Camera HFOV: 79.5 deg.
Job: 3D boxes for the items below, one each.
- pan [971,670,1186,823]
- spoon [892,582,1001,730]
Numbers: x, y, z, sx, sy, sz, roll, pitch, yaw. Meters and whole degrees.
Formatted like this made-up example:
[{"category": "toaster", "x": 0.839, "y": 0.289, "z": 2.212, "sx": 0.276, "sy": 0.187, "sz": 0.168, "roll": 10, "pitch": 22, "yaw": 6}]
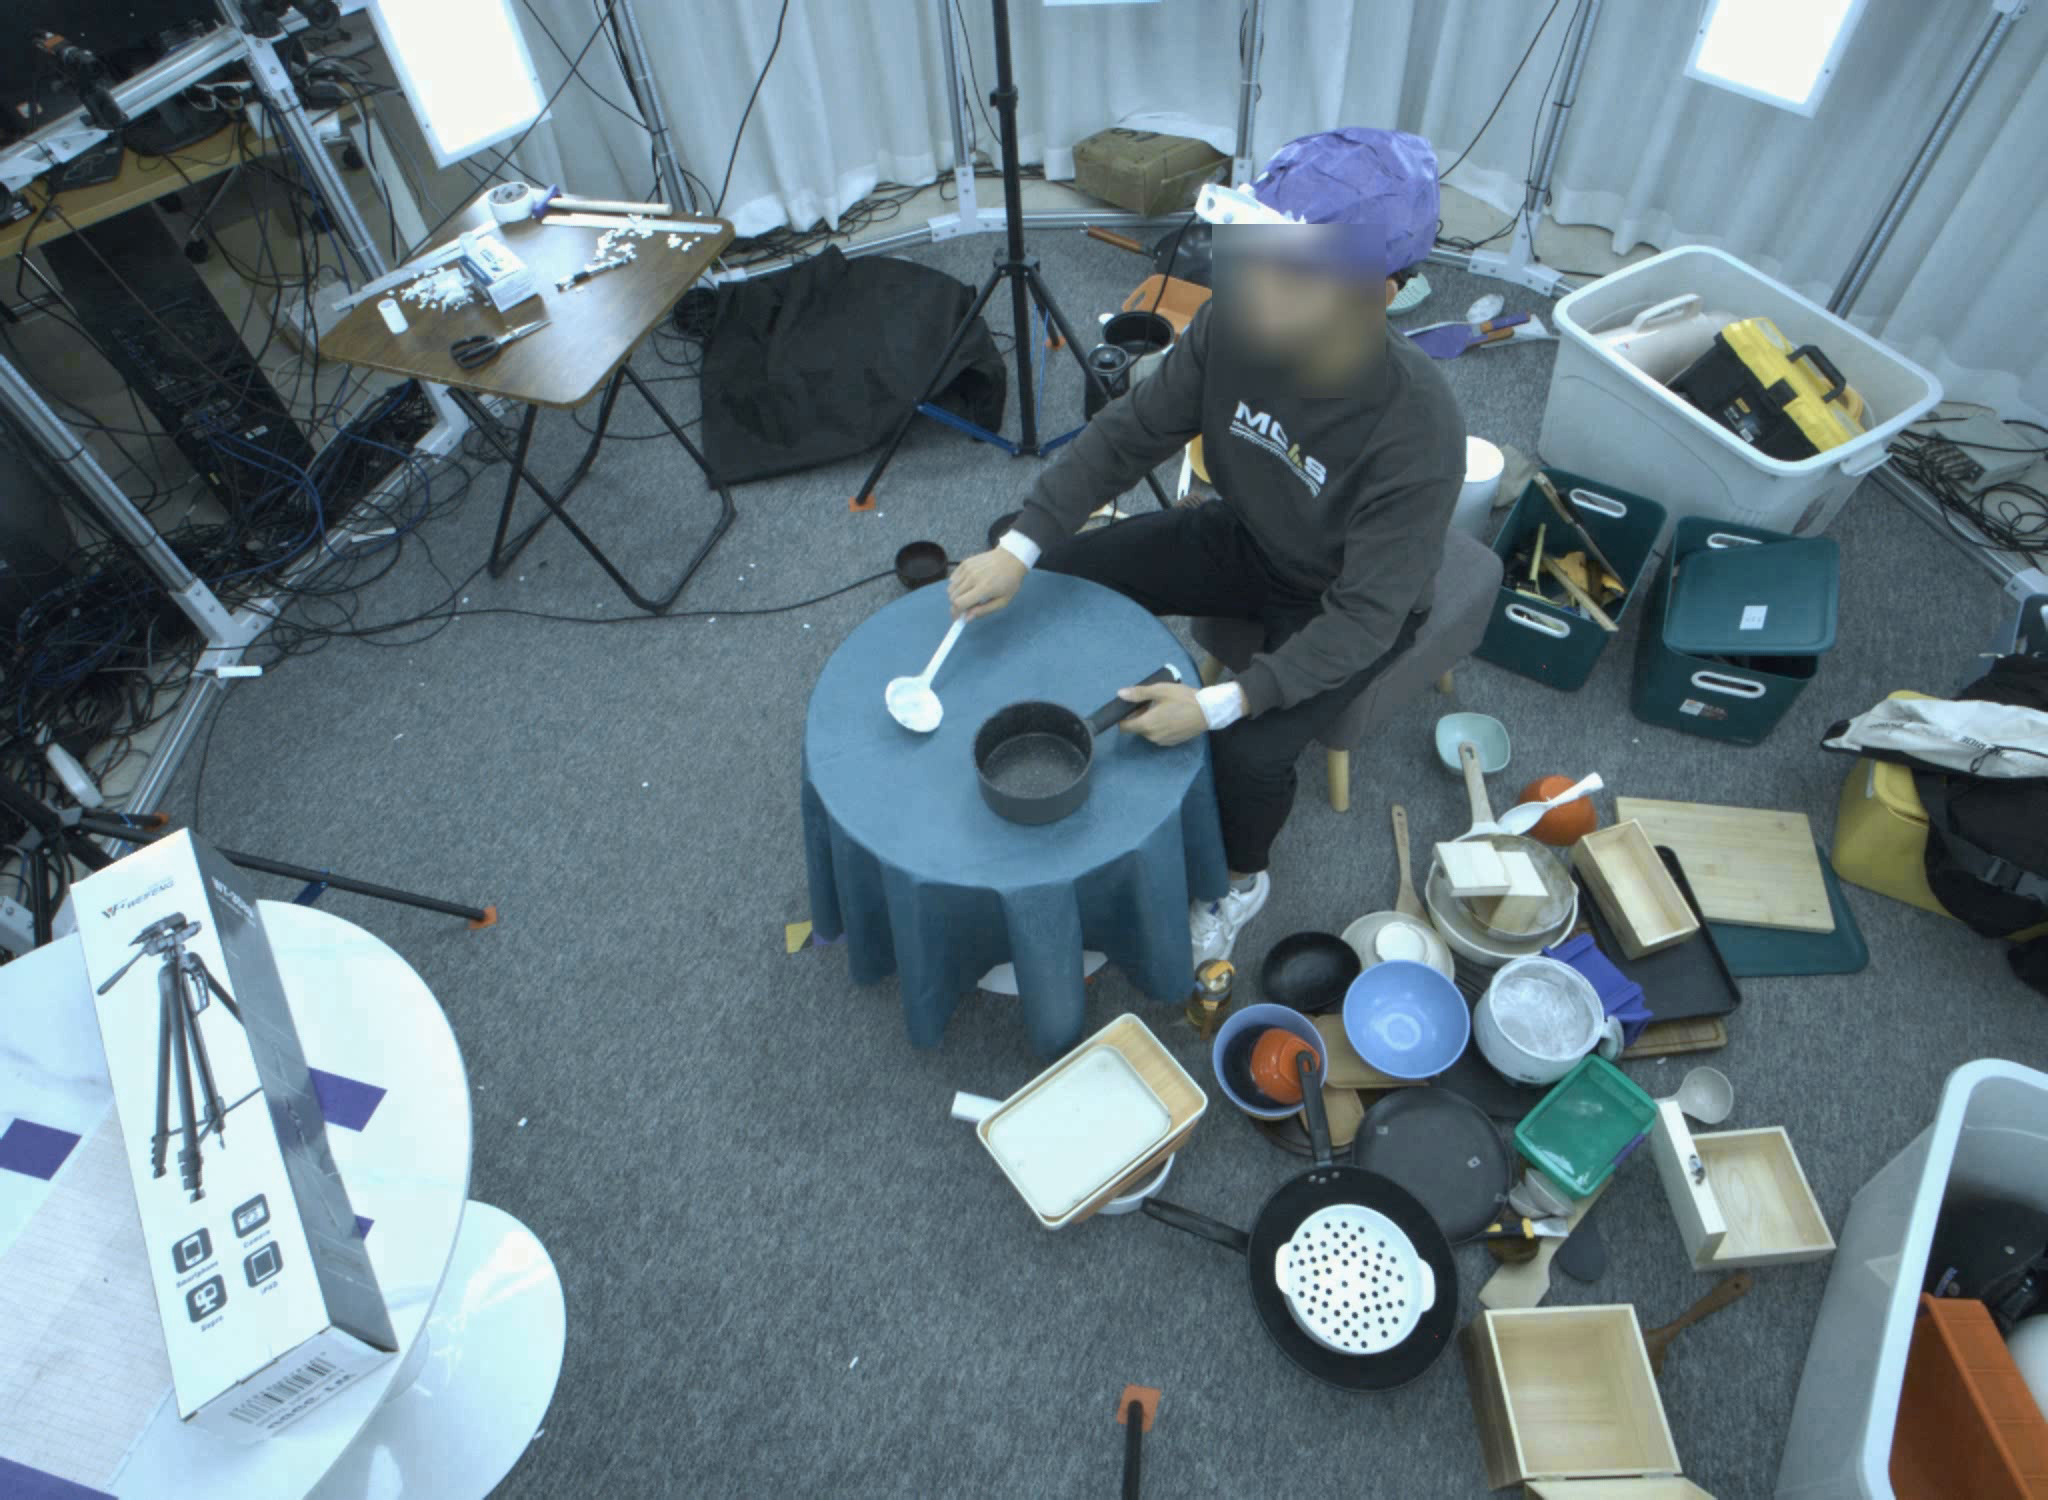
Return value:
[{"category": "pan", "x": 0.083, "y": -0.017, "z": 1.754, "sx": 0.331, "sy": 0.087, "sz": 0.169, "roll": -25, "pitch": 59, "yaw": -15}, {"category": "spoon", "x": -0.102, "y": -0.146, "z": 1.841, "sx": 0.278, "sy": 0.102, "sz": 0.058, "roll": -54, "pitch": 26, "yaw": -16}]
